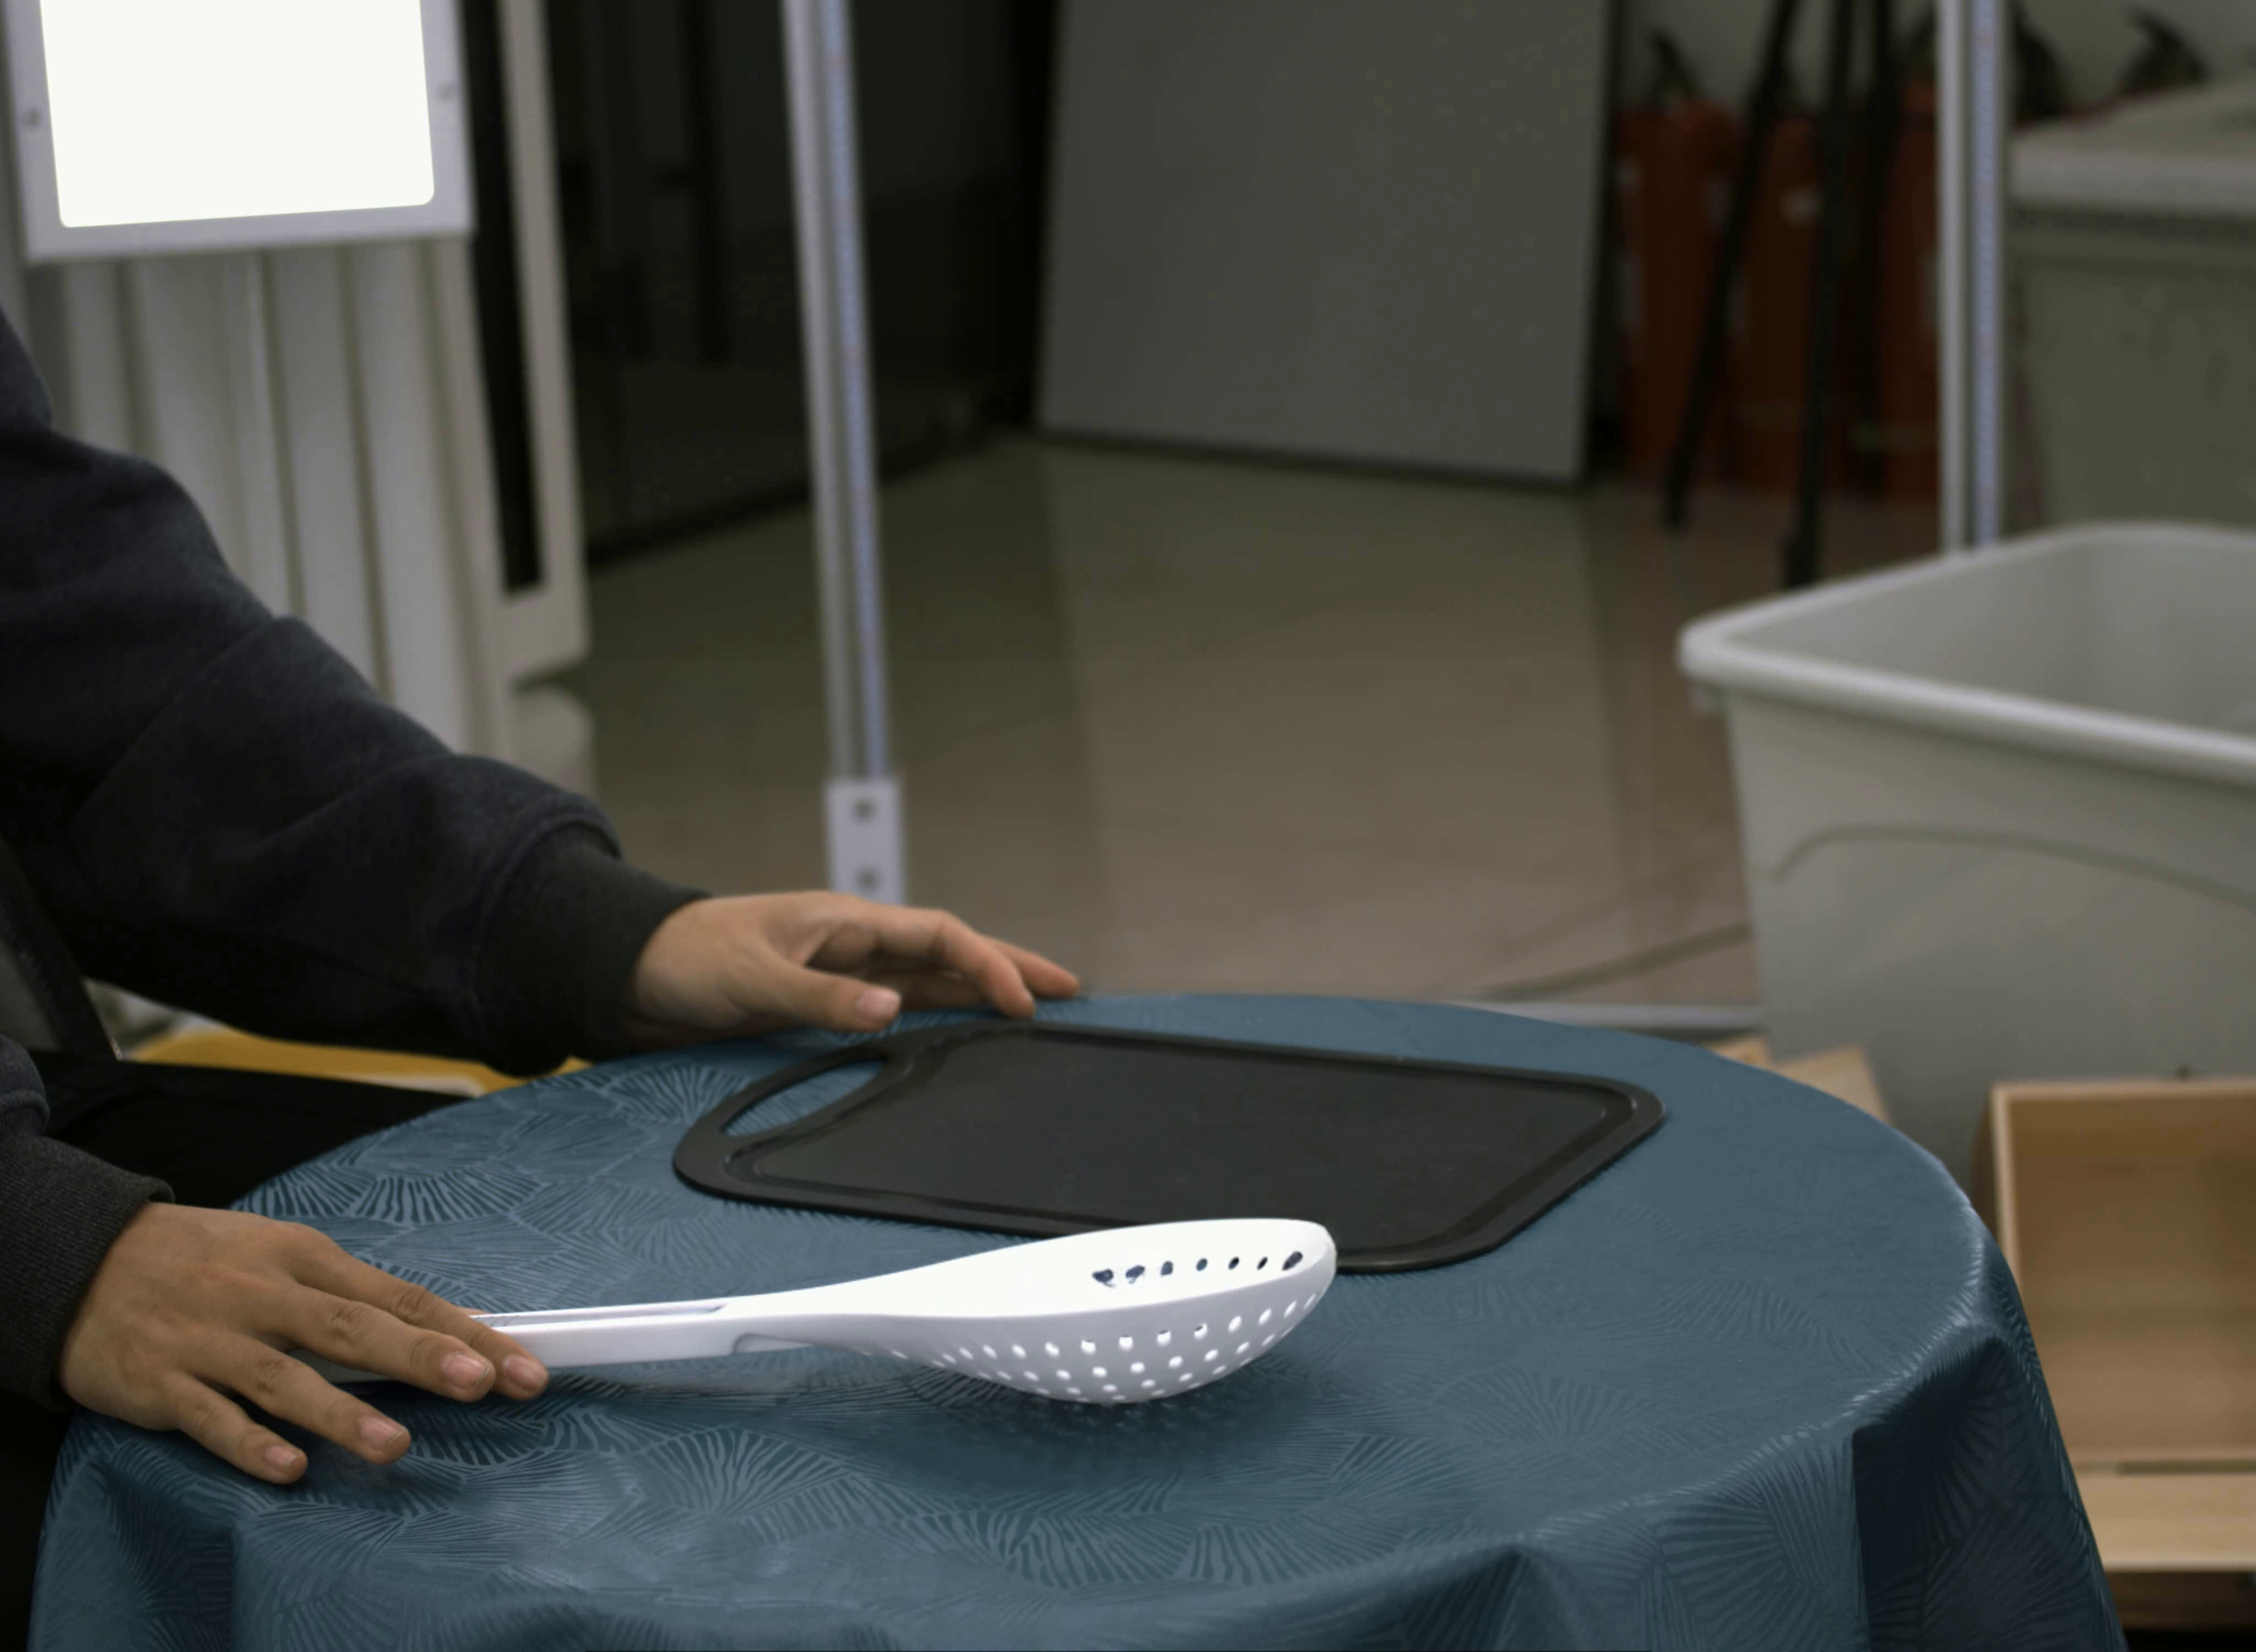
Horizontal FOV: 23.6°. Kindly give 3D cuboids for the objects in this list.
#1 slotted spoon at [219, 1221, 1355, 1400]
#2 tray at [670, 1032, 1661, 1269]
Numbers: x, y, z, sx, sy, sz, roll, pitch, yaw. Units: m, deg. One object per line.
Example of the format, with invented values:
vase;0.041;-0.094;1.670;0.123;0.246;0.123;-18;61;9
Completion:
slotted spoon;-0.103;0.145;1.597;0.348;0.046;0.135;-2;3;13
tray;0.005;0.105;1.819;0.326;0.010;0.208;4;16;30
